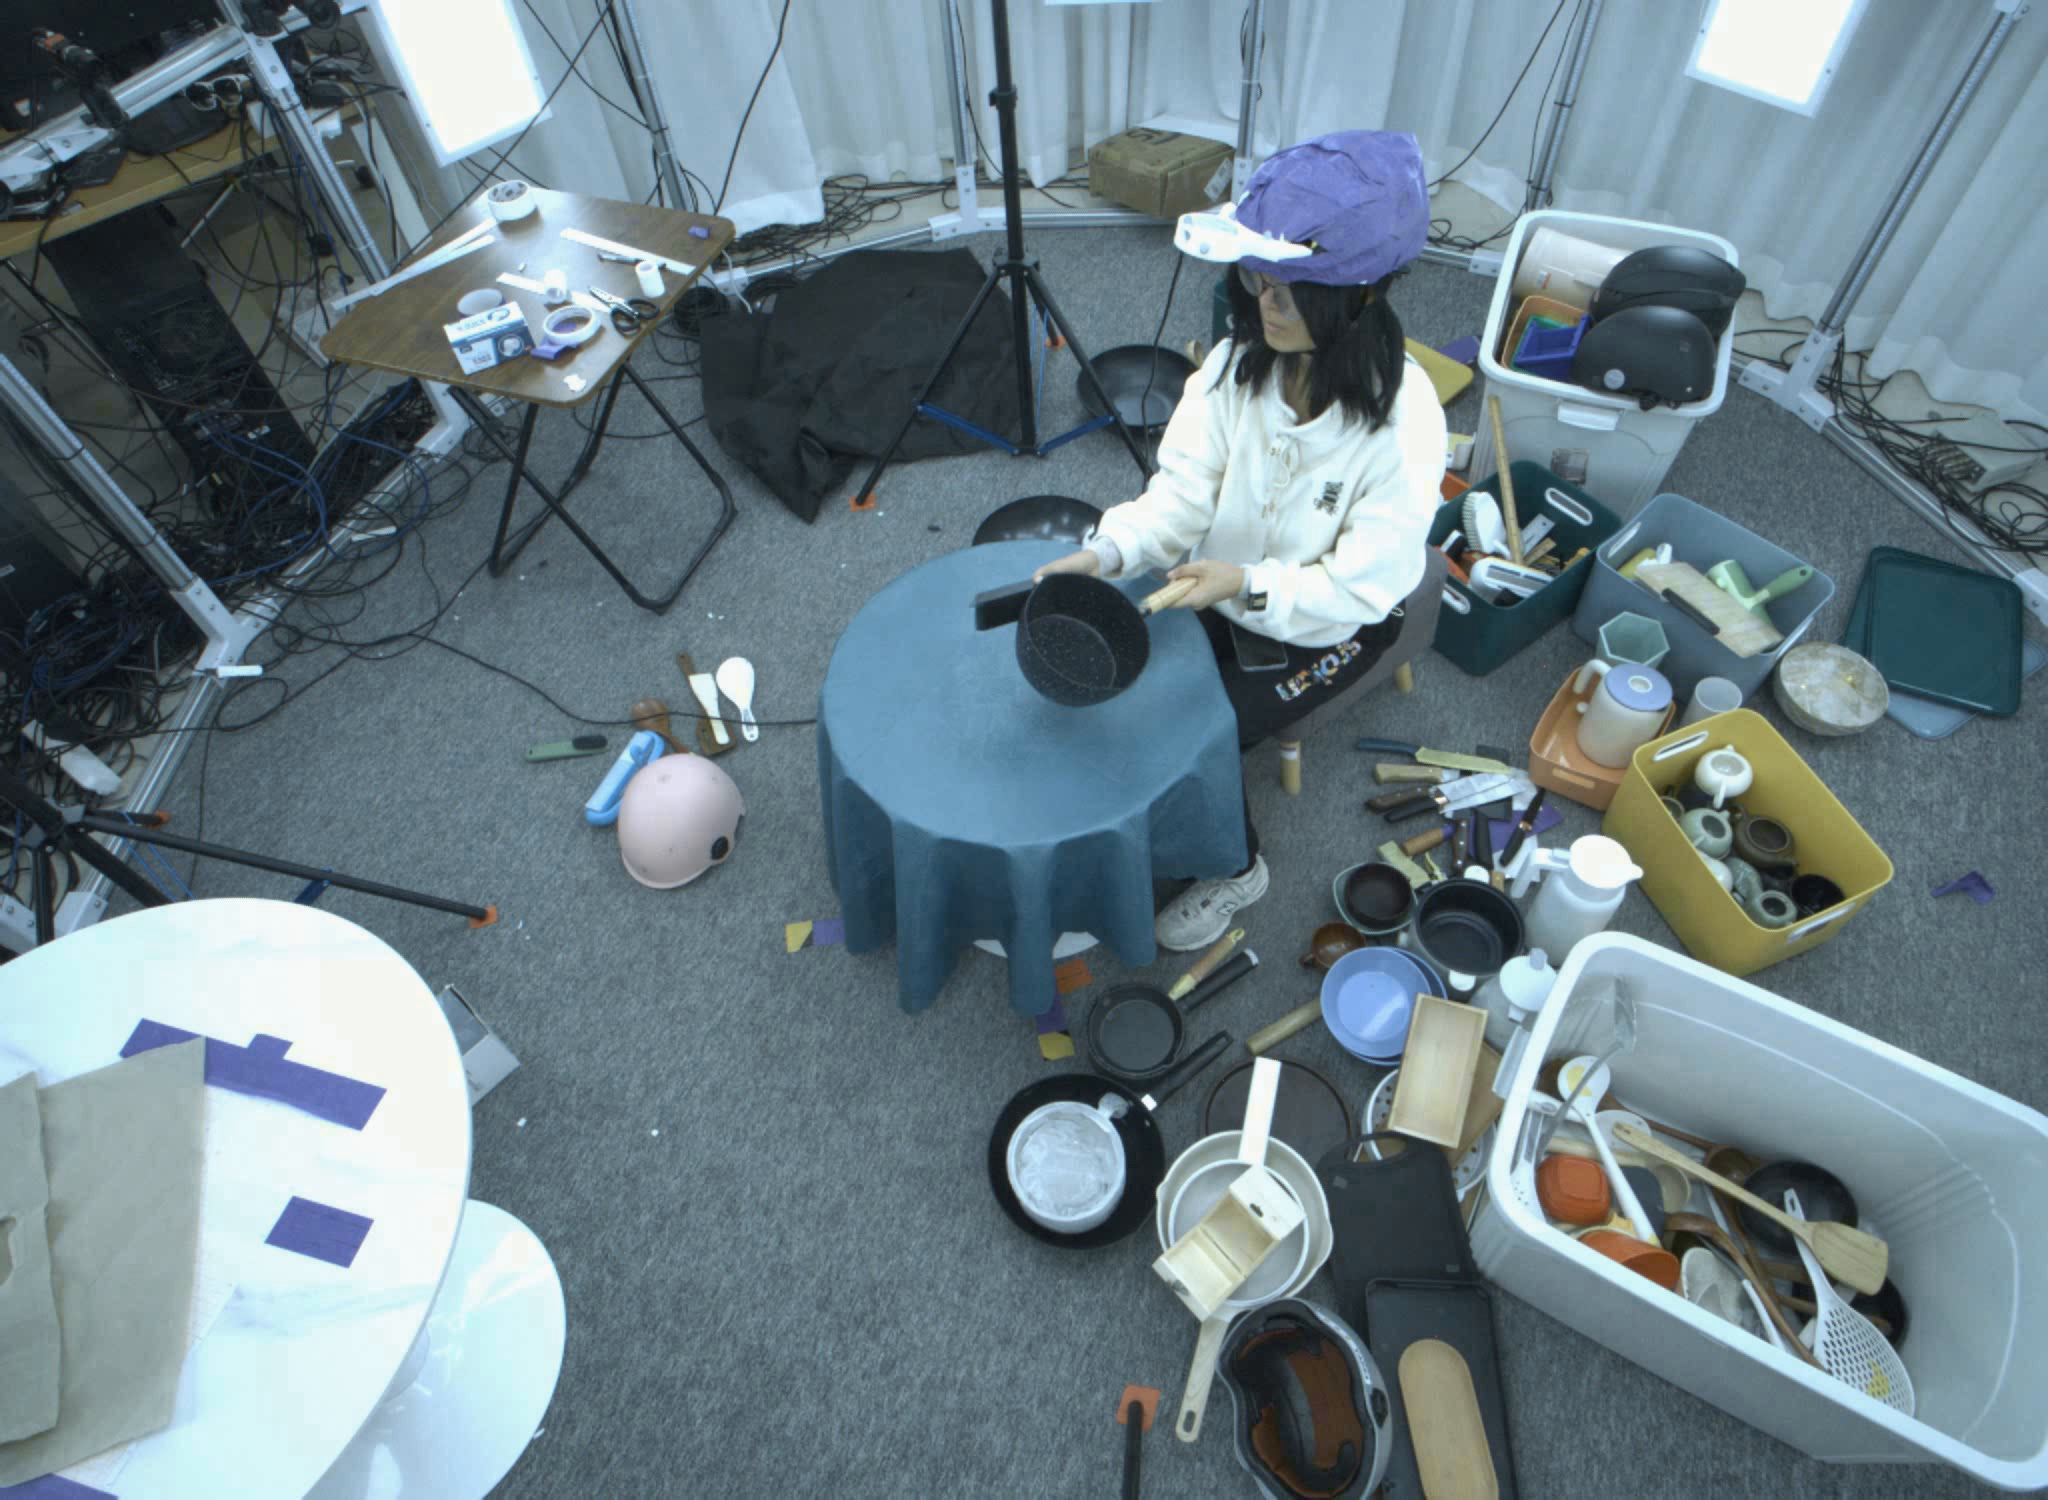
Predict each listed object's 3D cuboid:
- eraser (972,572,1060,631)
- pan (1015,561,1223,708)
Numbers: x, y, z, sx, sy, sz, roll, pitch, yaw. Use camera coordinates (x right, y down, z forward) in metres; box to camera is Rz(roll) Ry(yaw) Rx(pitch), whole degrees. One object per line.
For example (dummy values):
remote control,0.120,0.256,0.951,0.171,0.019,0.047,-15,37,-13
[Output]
eraser,-0.011,-0.208,1.718,0.127,0.054,0.030,-20,55,-22
pan,0.136,-0.182,1.729,0.347,0.107,0.206,-29,79,-31
